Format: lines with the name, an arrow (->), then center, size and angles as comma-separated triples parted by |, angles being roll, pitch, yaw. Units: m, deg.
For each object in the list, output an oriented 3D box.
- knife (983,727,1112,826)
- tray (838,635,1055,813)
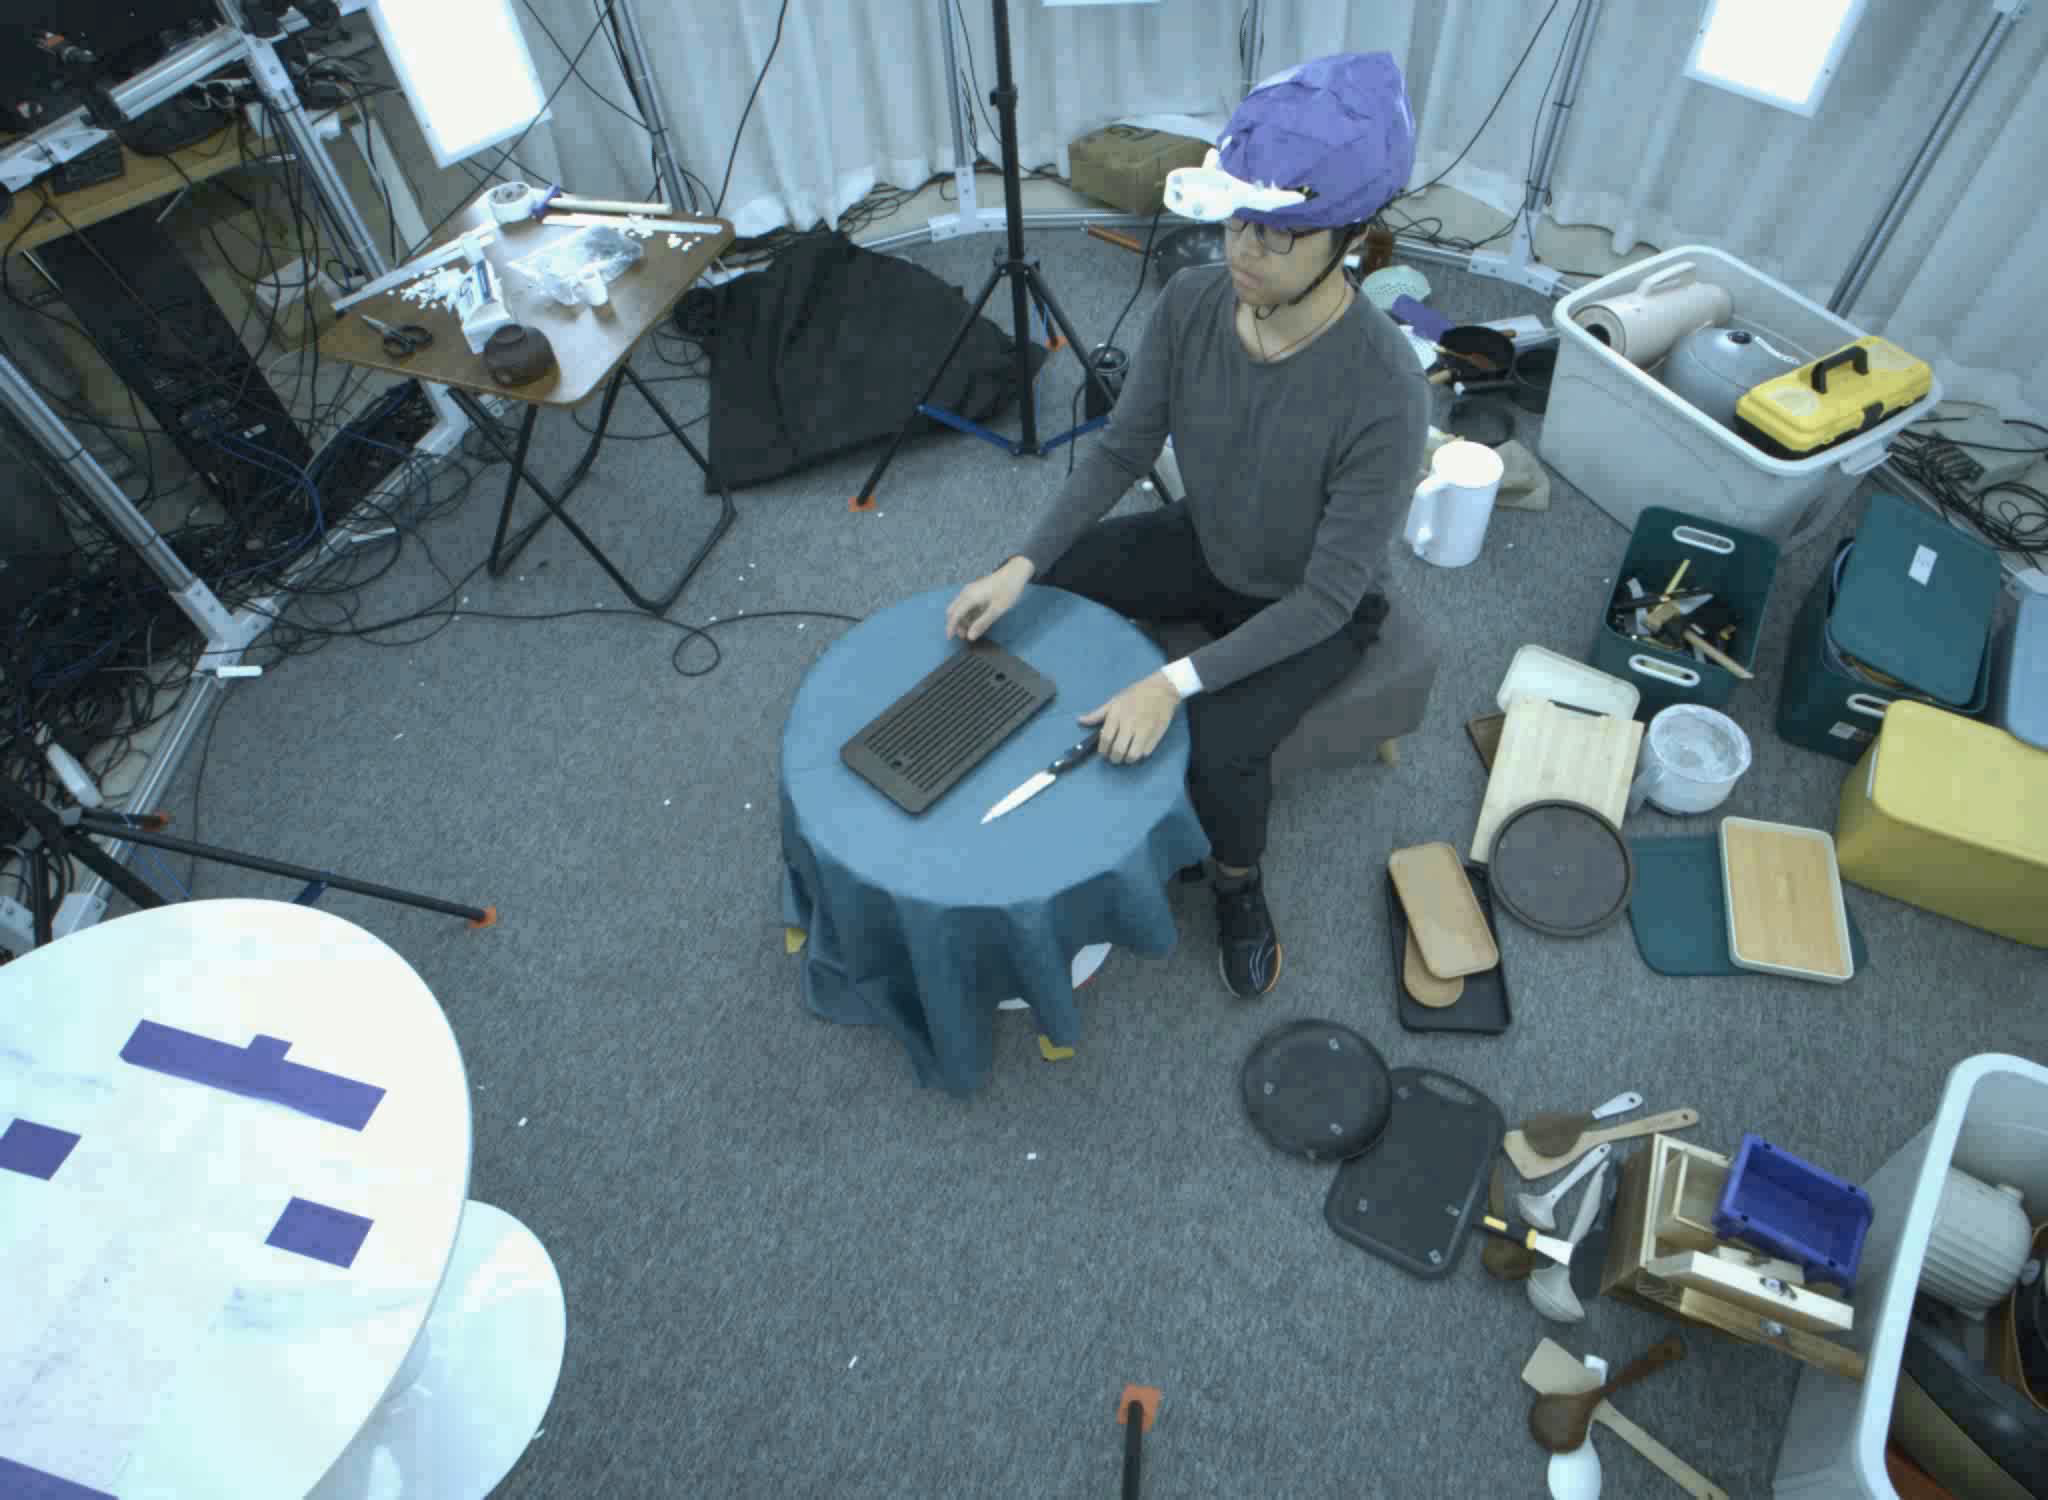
knife -> 0.032, 0.037, 1.761 | 0.240, 0.016, 0.024 | -37, 61, -19
tray -> -0.112, -0.043, 1.818 | 0.167, 0.019, 0.308 | 37, 63, 24
